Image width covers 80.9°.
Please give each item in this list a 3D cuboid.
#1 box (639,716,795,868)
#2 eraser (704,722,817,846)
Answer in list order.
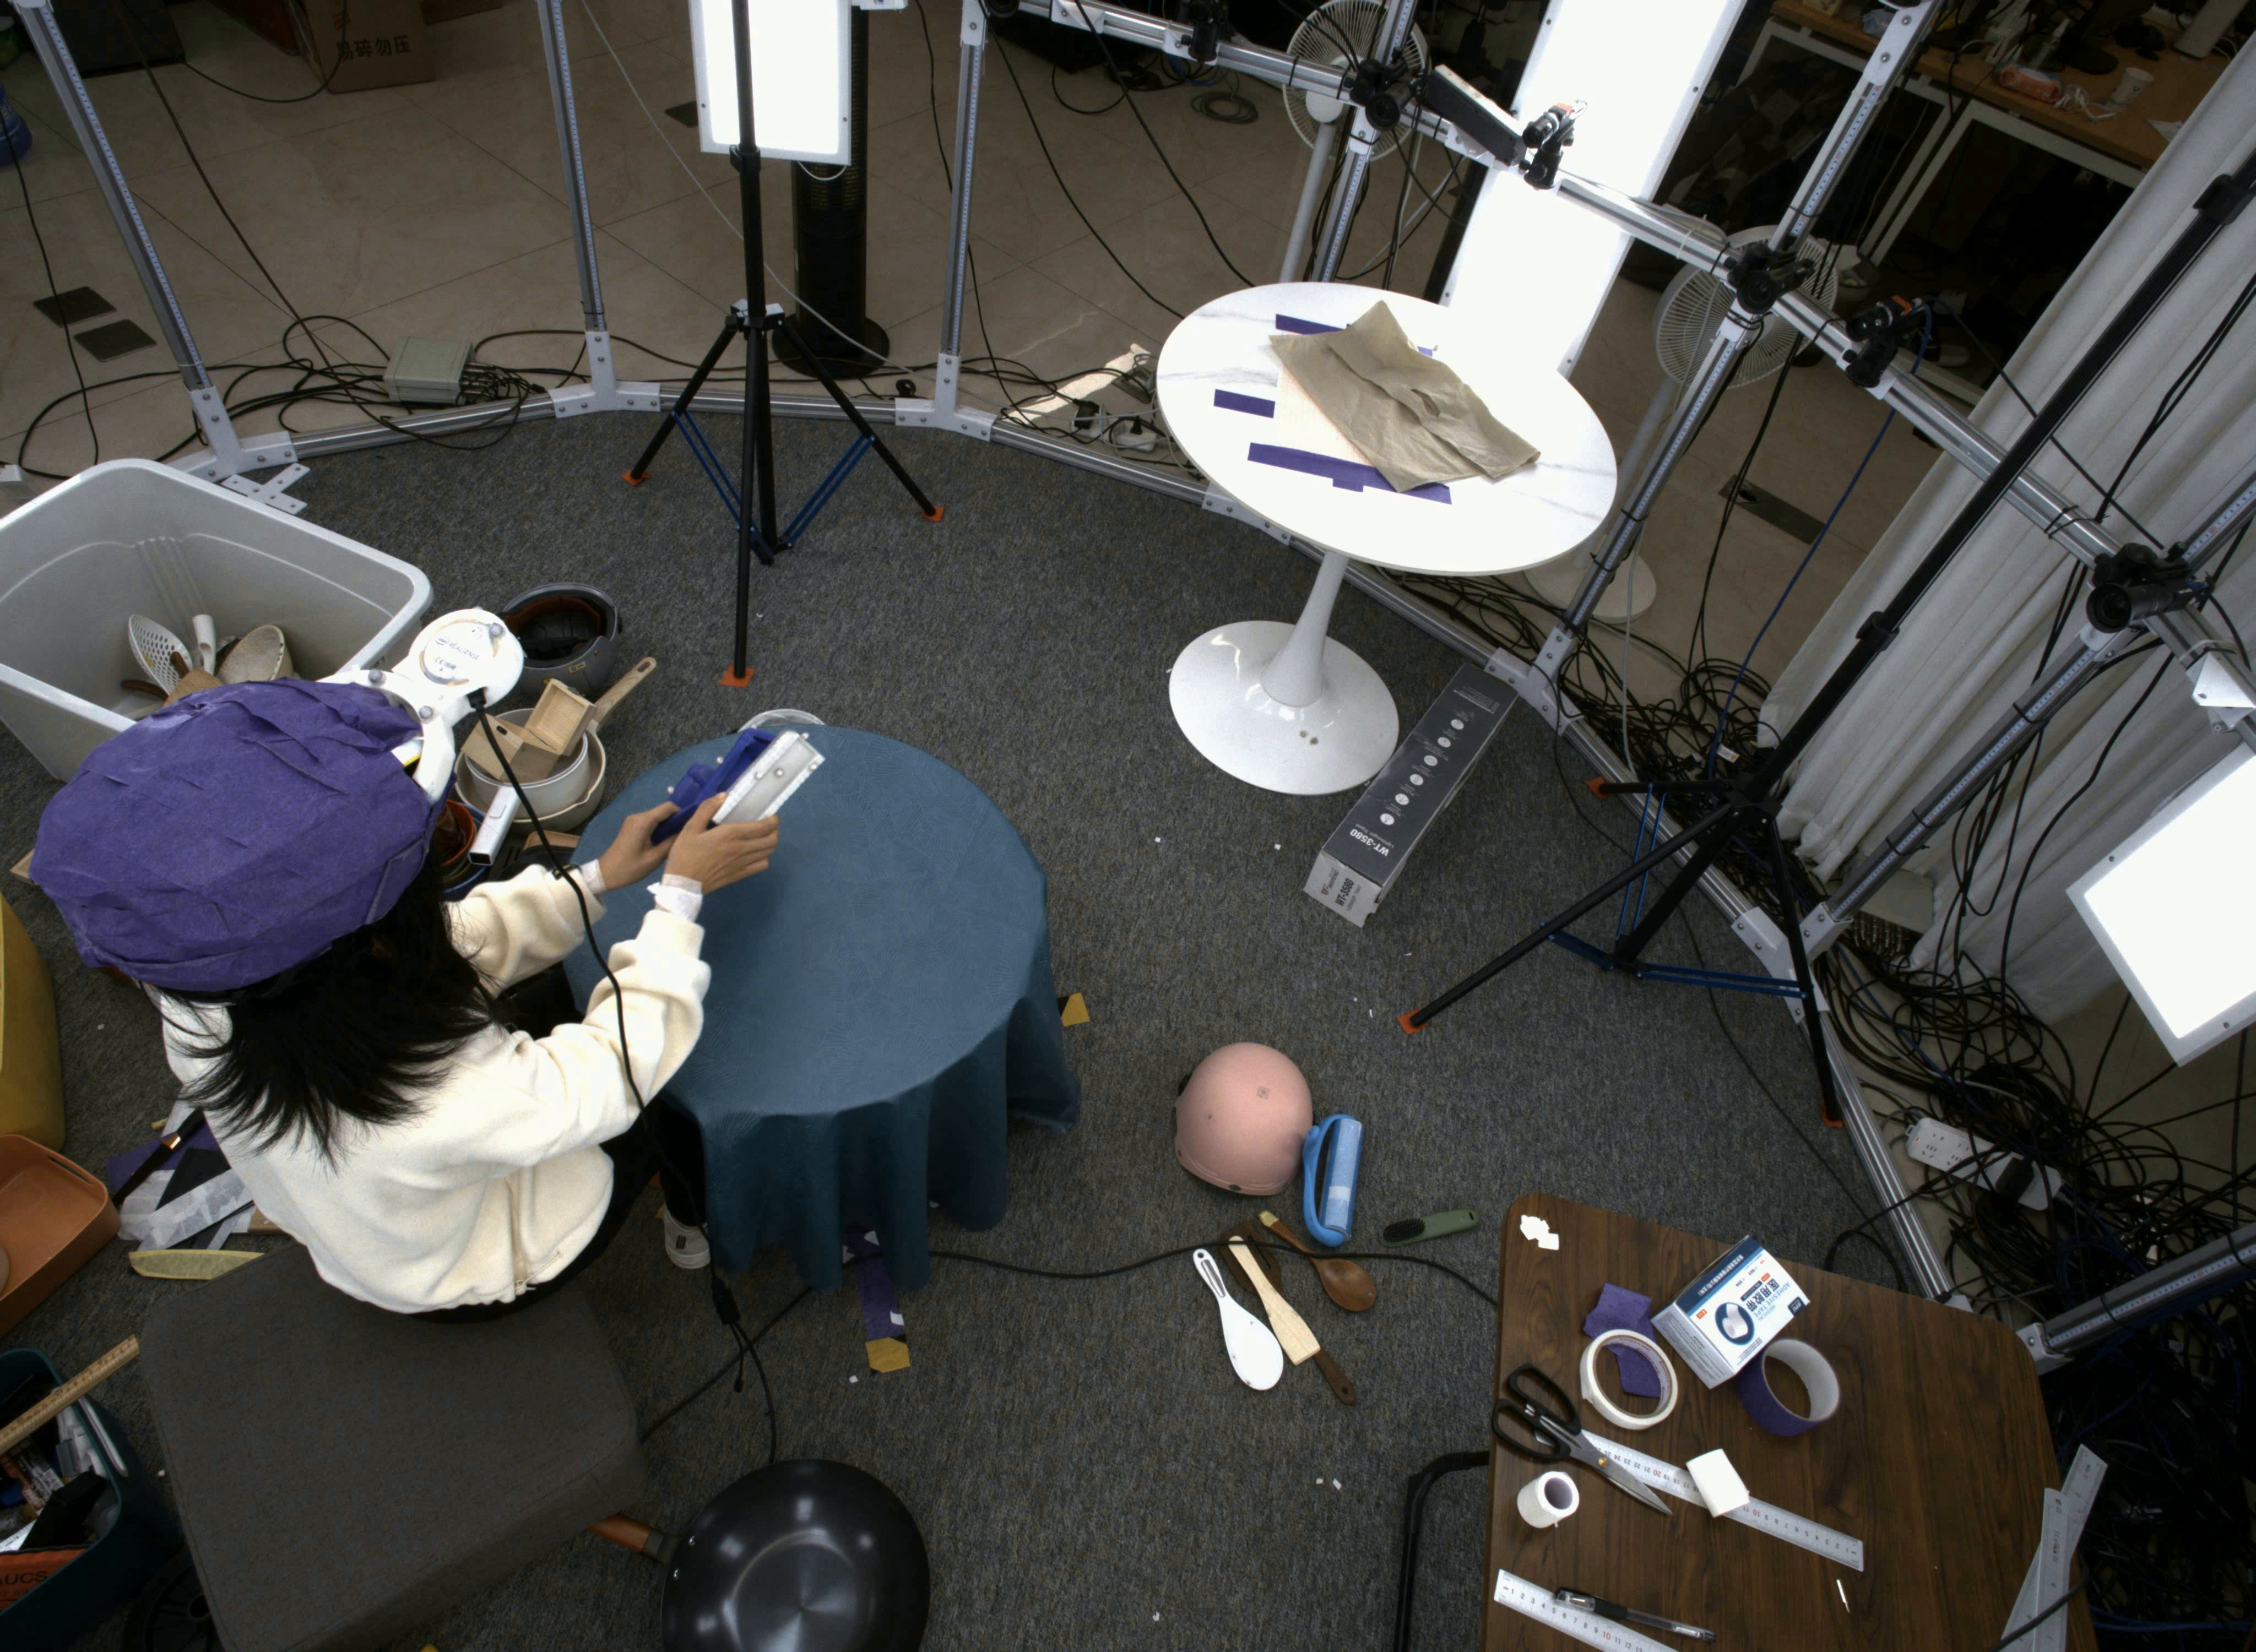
[{"bbox_3d":[-0.486,-0.044,1.544,0.084,0.122,0.177,47,37,-27],"label":"box"},{"bbox_3d":[-0.411,-0.049,1.444,0.134,0.051,0.045,-52,32,-7],"label":"eraser"}]
